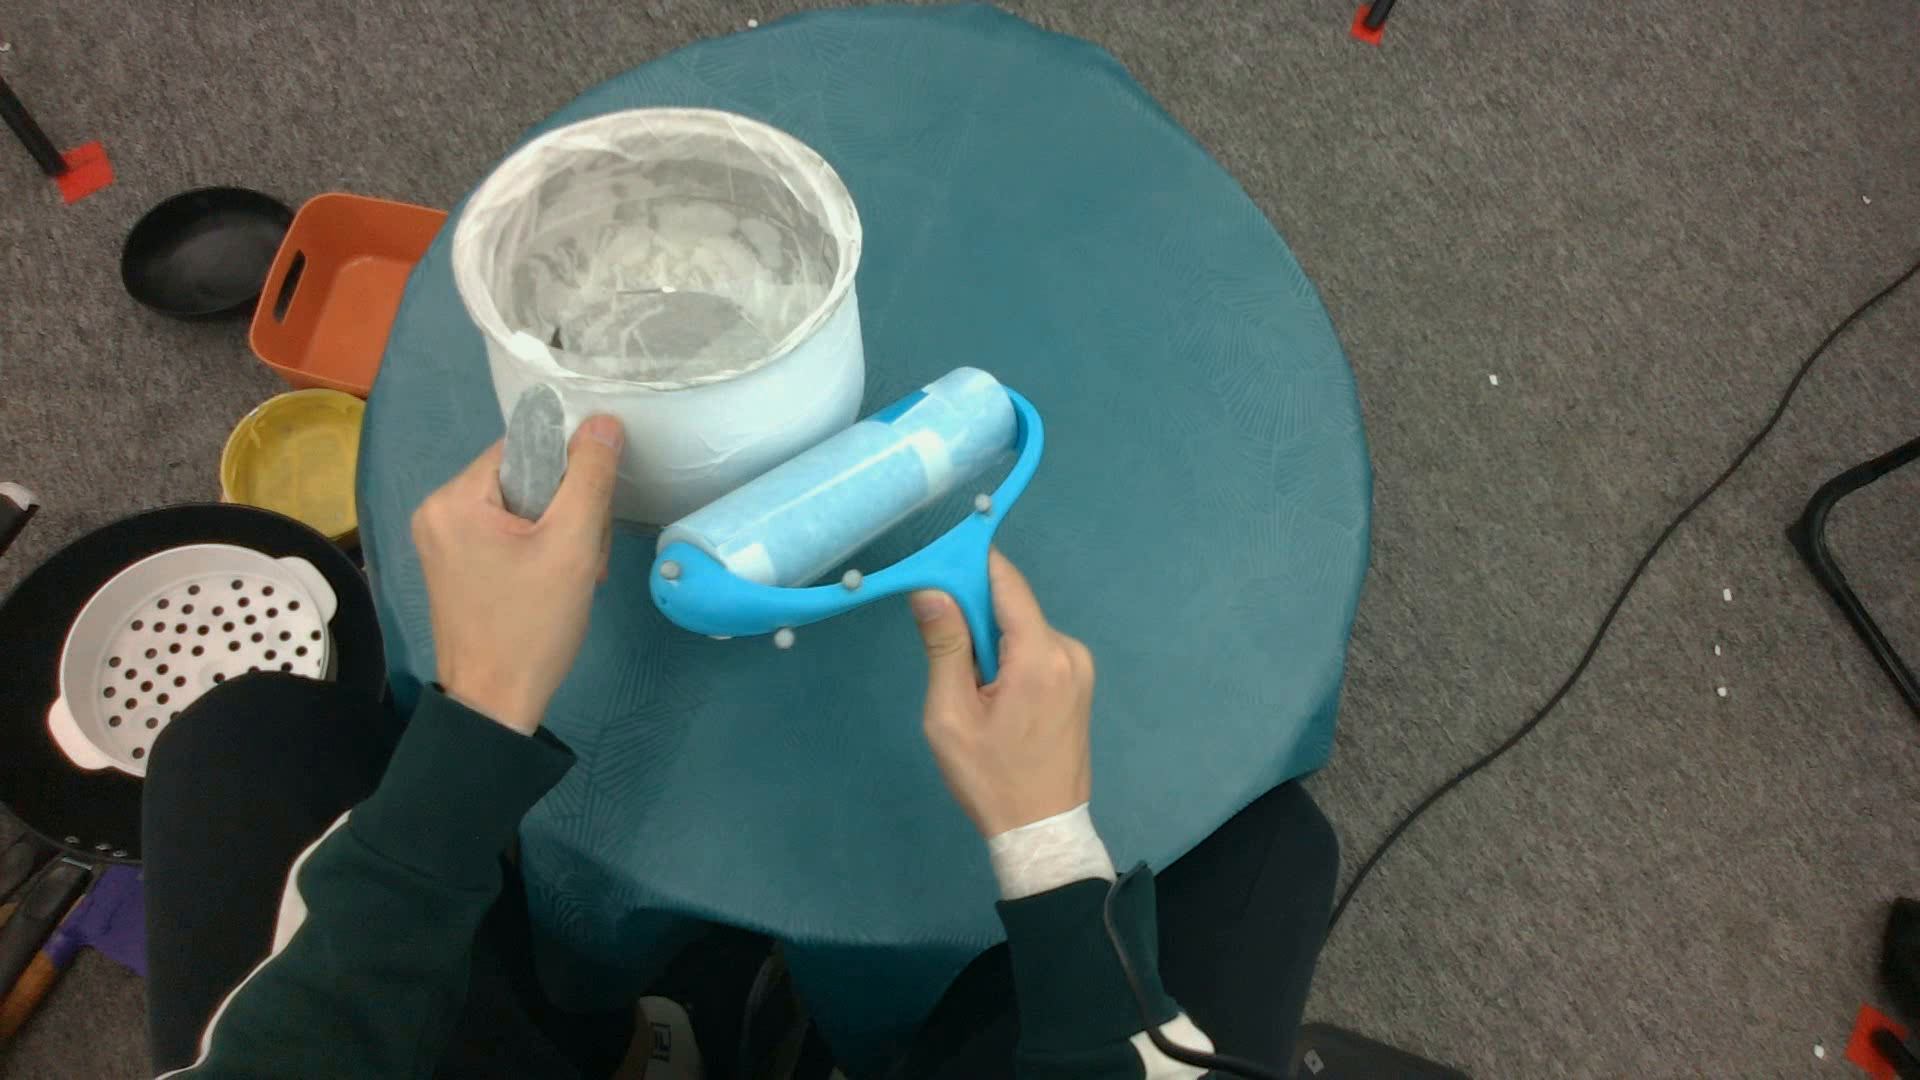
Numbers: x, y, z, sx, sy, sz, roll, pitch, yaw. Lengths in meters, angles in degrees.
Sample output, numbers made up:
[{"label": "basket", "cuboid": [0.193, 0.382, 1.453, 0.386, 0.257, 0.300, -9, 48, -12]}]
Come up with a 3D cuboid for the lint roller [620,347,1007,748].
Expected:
[{"label": "lint roller", "cuboid": [-0.027, 0.014, 0.642, 0.180, 0.067, 0.230, 48, 46, 0]}]

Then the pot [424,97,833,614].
[{"label": "pot", "cuboid": [-0.158, -0.082, 0.645, 0.178, 0.136, 0.235, 17, 55, 7]}]
